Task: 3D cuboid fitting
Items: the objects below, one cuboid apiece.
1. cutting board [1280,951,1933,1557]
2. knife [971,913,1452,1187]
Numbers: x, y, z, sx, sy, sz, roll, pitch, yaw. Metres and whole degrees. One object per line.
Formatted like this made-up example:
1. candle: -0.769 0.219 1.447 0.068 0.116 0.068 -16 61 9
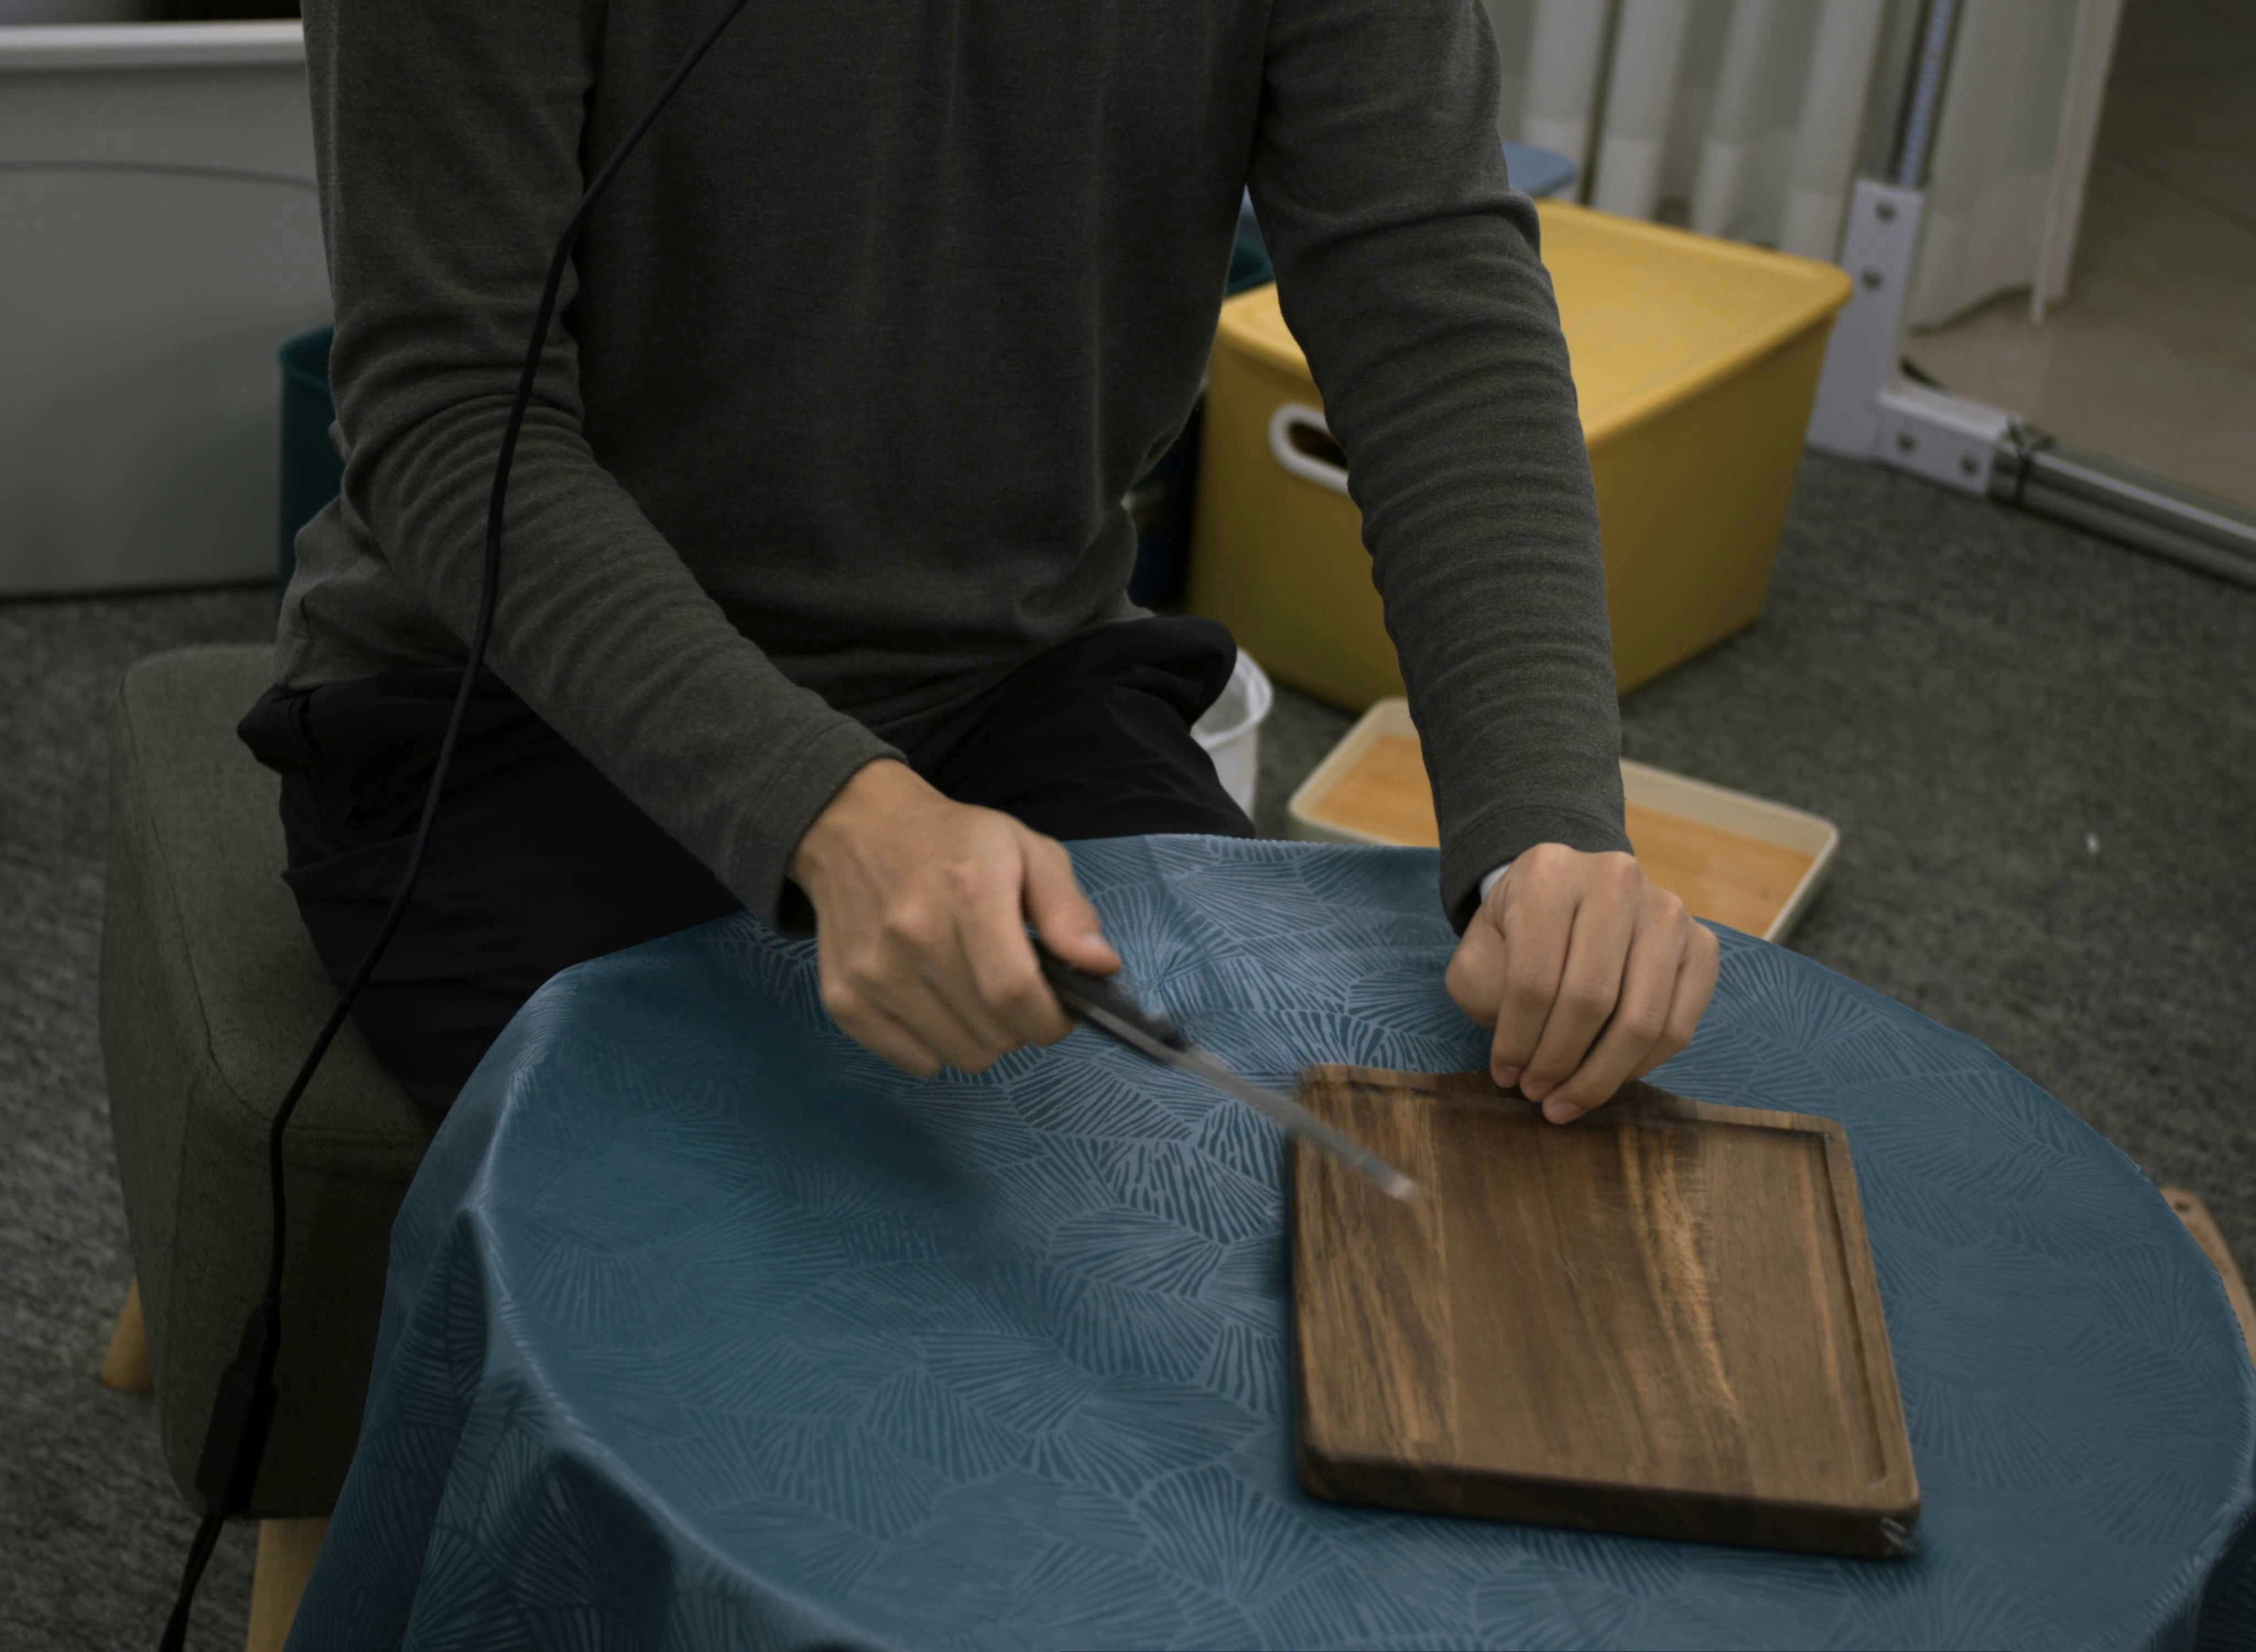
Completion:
1. cutting board: 0.152 0.133 1.800 0.200 0.023 0.354 6 26 -2
2. knife: 0.023 0.073 1.725 0.024 0.016 0.240 7 14 -42
